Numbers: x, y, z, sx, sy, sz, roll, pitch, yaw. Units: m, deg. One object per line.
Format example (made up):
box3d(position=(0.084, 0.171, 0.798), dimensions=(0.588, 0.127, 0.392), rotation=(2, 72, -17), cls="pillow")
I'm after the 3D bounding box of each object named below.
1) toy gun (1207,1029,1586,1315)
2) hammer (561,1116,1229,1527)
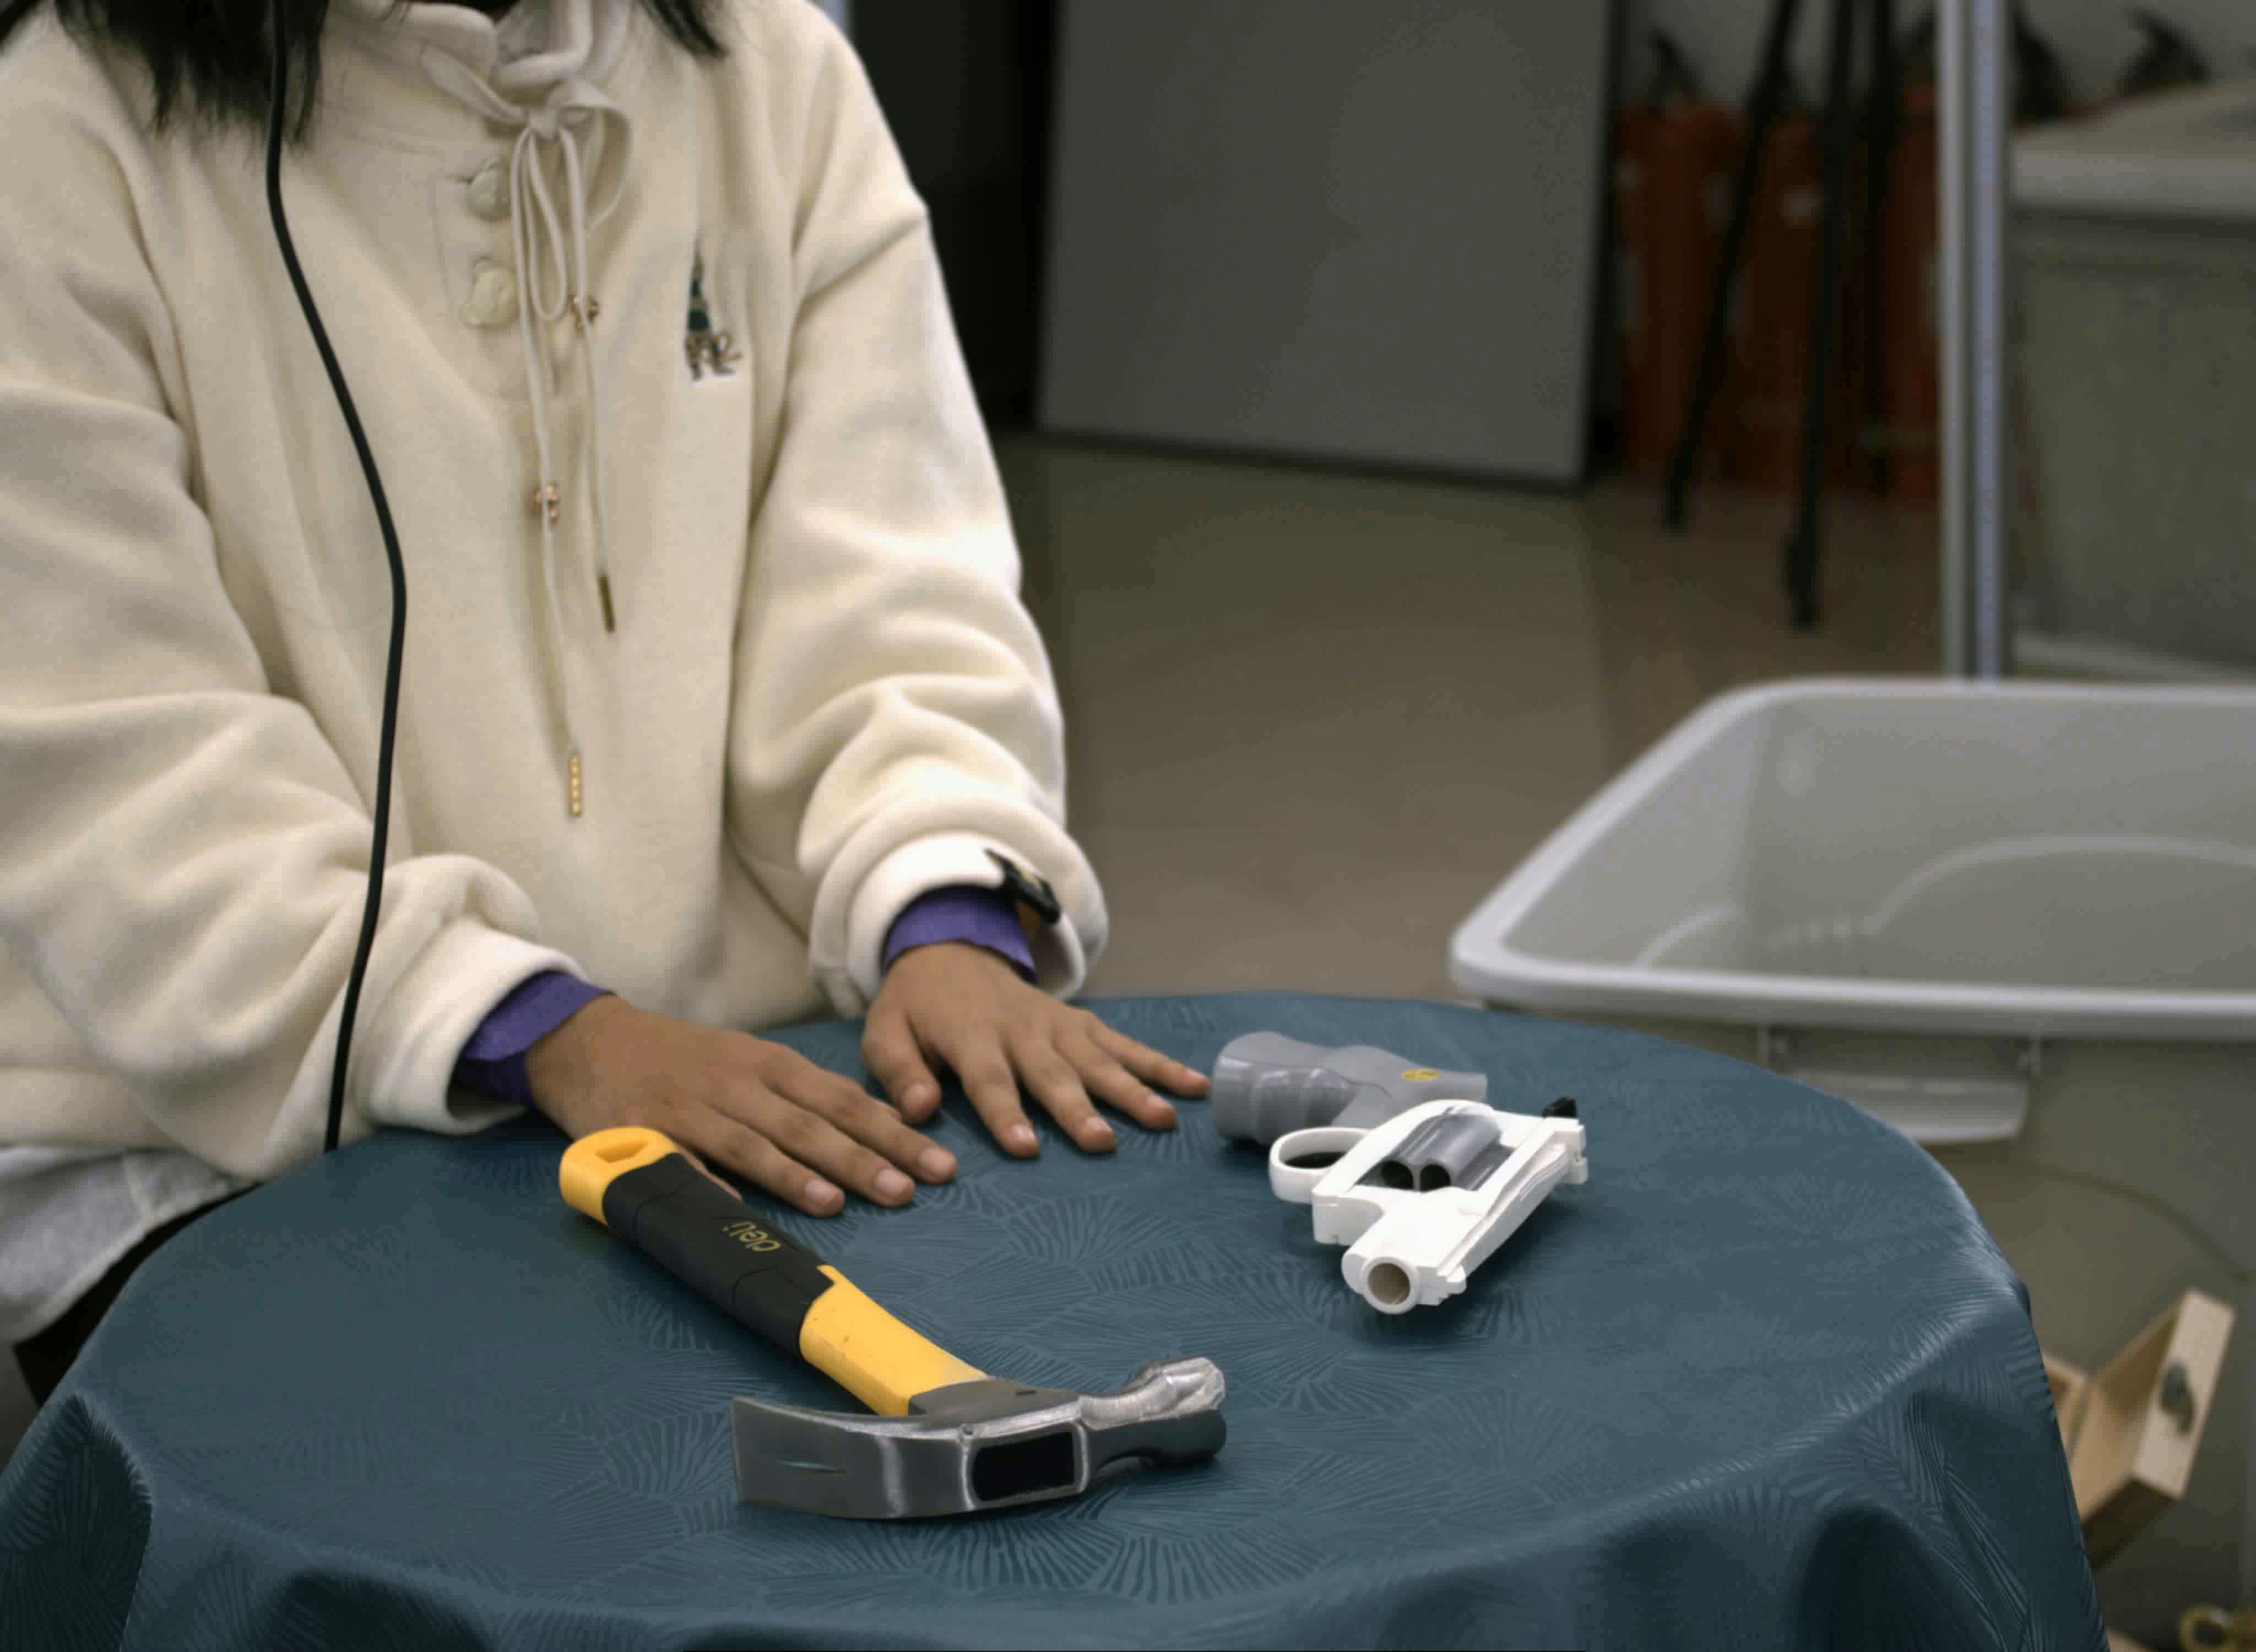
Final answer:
box3d(position=(0.072, 0.108, 1.717), dimensions=(0.141, 0.039, 0.207), rotation=(2, 15, 20), cls="toy gun")
box3d(position=(-0.099, 0.142, 1.639), dimensions=(0.128, 0.032, 0.342), rotation=(-12, 17, -22), cls="hammer")
